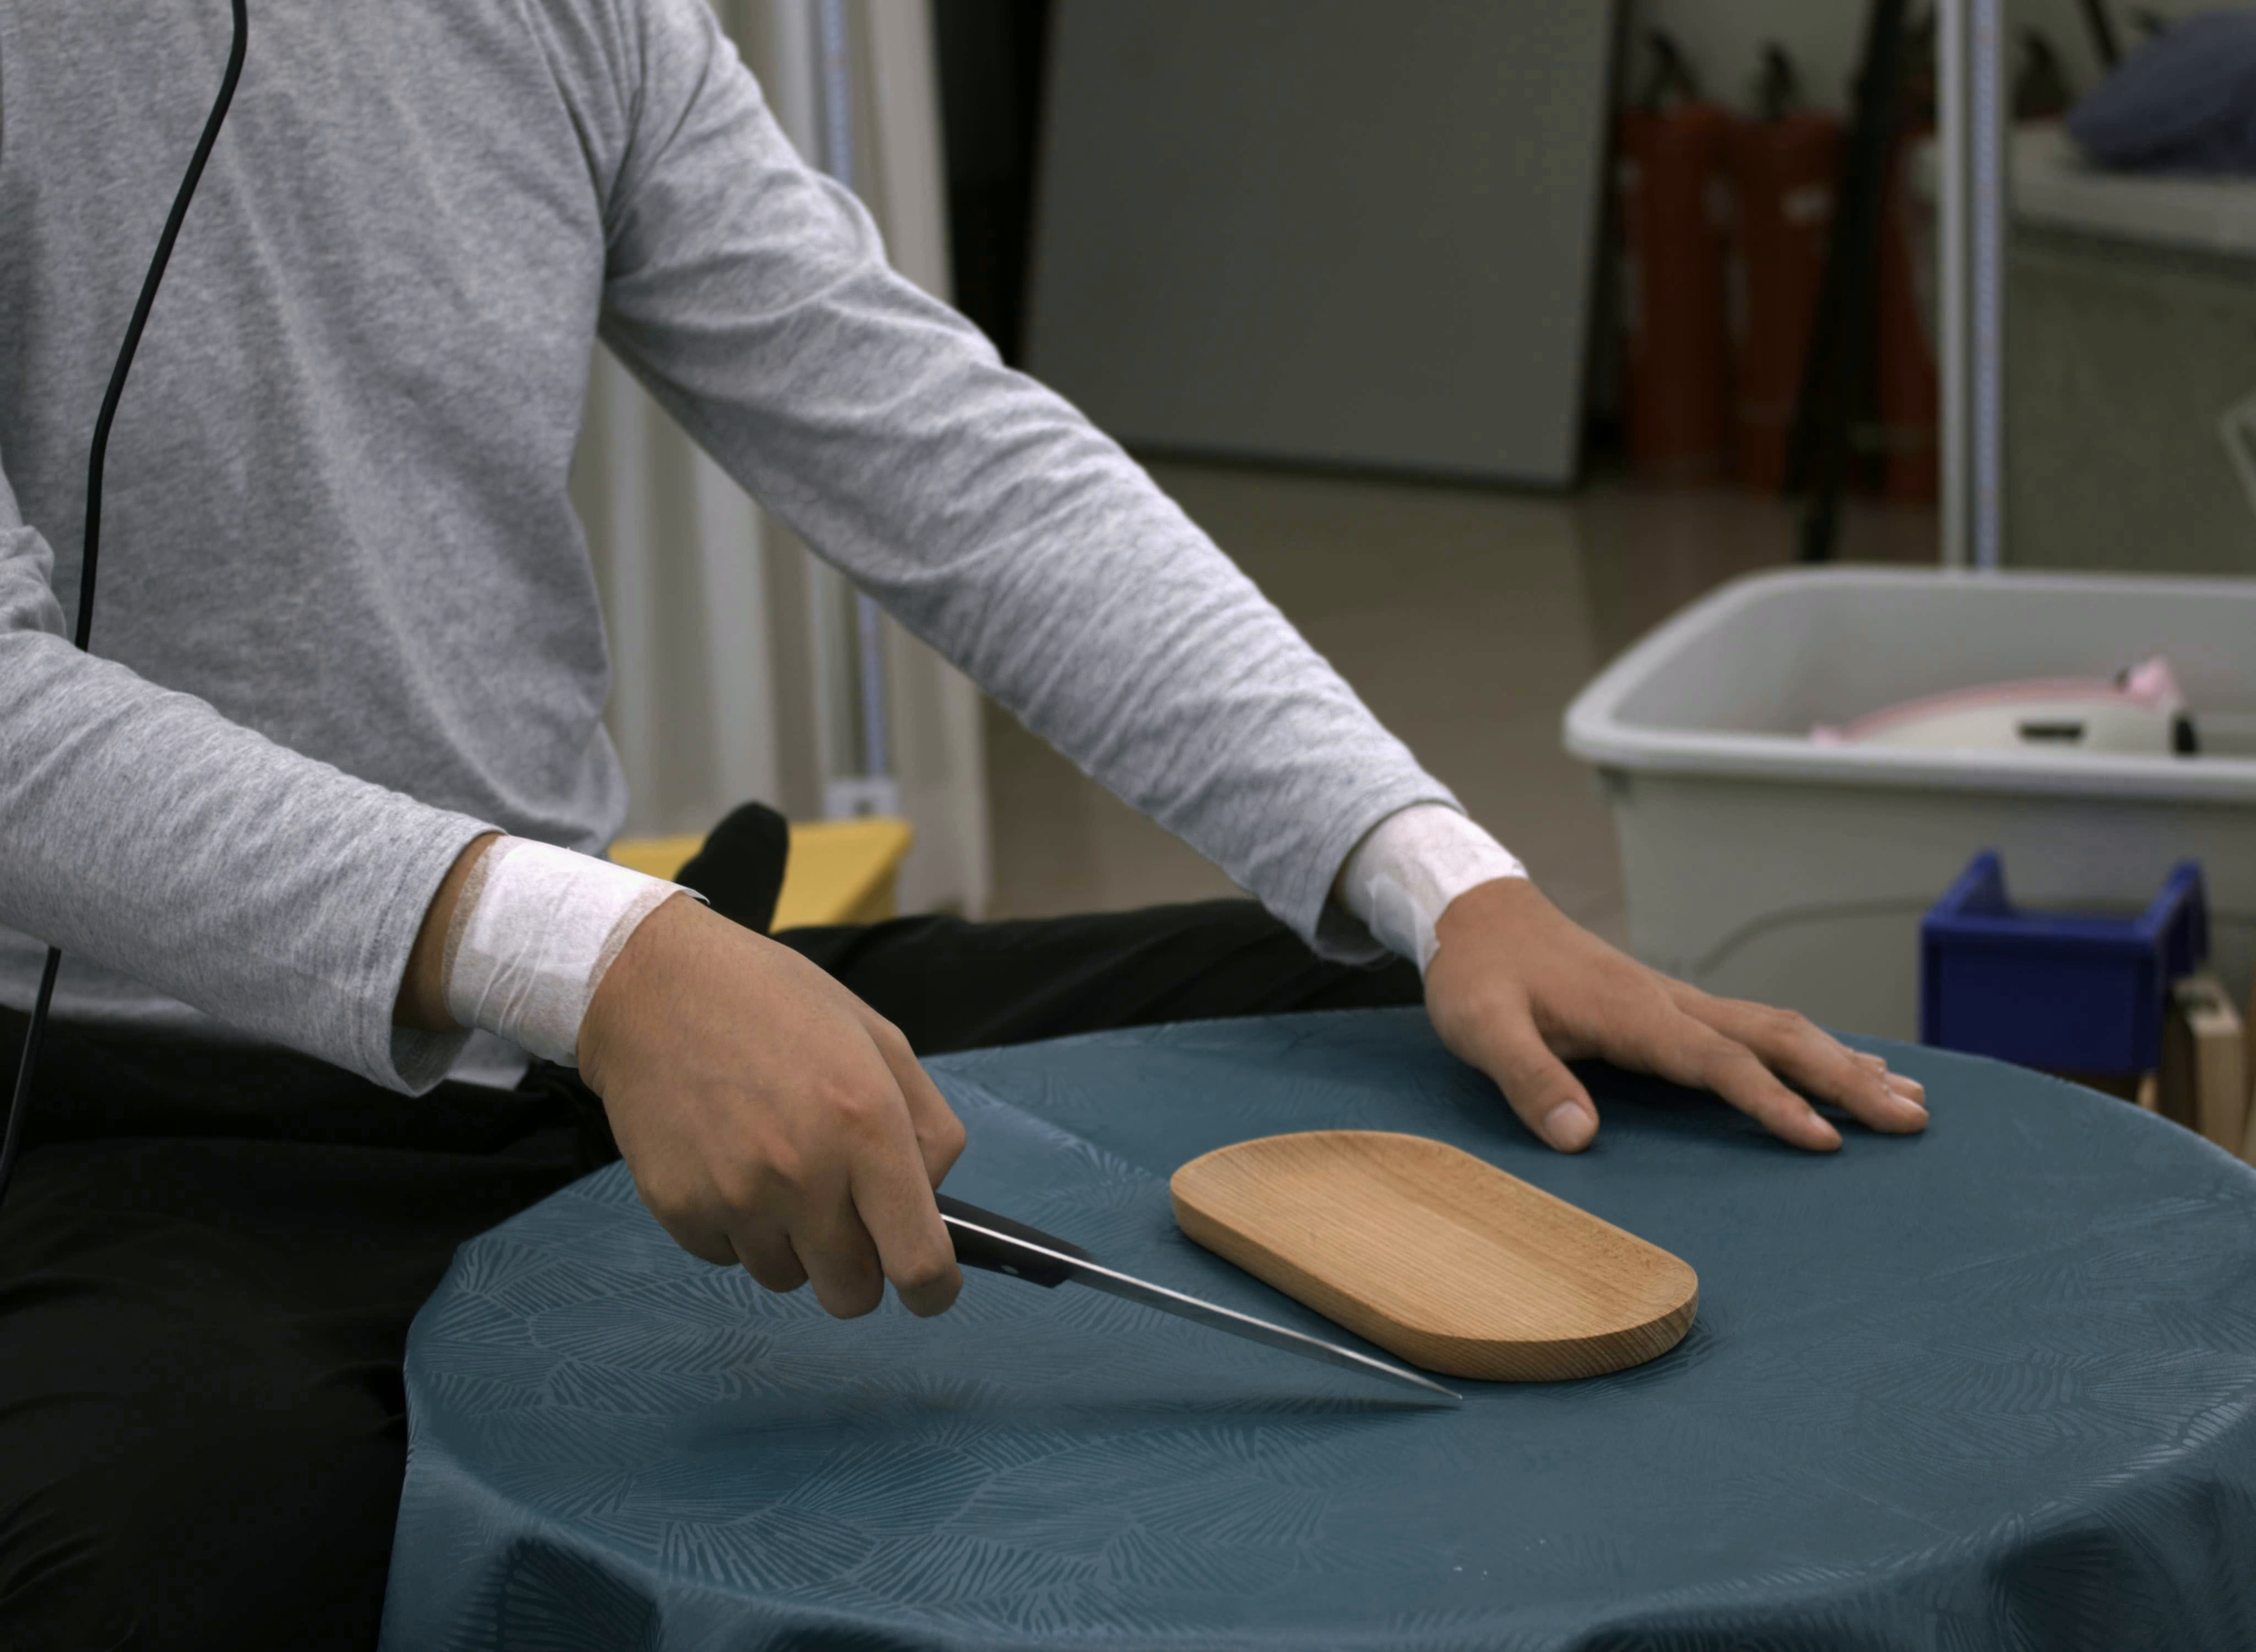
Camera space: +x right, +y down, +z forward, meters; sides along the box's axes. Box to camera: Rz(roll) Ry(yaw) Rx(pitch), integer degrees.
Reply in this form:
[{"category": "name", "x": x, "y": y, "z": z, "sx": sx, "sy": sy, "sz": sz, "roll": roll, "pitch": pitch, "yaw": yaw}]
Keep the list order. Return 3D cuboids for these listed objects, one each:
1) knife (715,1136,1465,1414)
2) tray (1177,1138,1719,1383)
[{"category": "knife", "x": -0.012, "y": 0.132, "z": 1.579, "sx": 0.237, "sy": 0.016, "sz": 0.024, "roll": 18, "pitch": -20, "yaw": 13}, {"category": "tray", "x": 0.096, "y": 0.133, "z": 1.667, "sx": 0.099, "sy": 0.020, "sz": 0.233, "roll": -12, "pitch": 17, "yaw": -25}]
